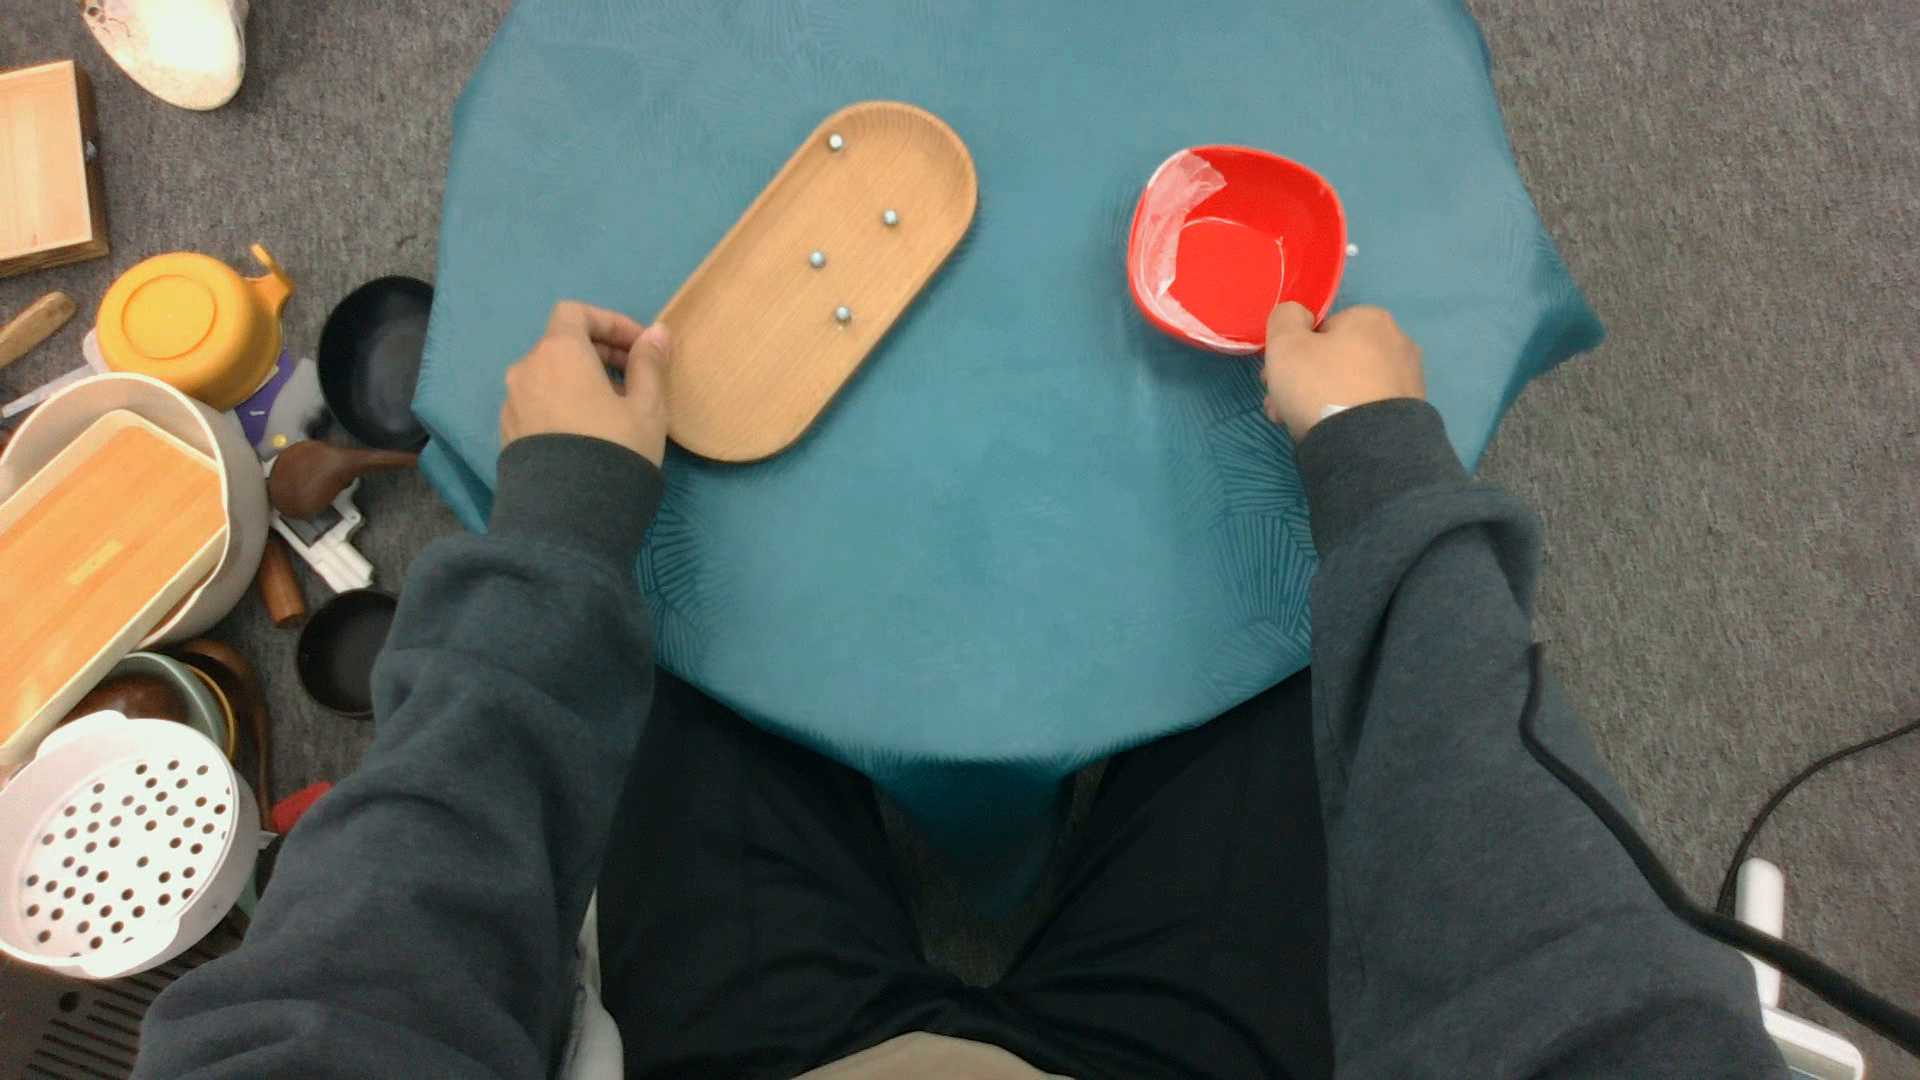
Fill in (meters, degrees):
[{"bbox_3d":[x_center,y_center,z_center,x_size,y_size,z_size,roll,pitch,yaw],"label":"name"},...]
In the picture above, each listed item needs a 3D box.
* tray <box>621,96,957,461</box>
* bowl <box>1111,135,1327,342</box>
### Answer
[{"bbox_3d":[-0.090,-0.143,0.745,0.101,0.020,0.231,35,80,4],"label":"tray"},{"bbox_3d":[0.133,-0.152,0.733,0.119,0.051,0.119,0,77,-1],"label":"bowl"}]
